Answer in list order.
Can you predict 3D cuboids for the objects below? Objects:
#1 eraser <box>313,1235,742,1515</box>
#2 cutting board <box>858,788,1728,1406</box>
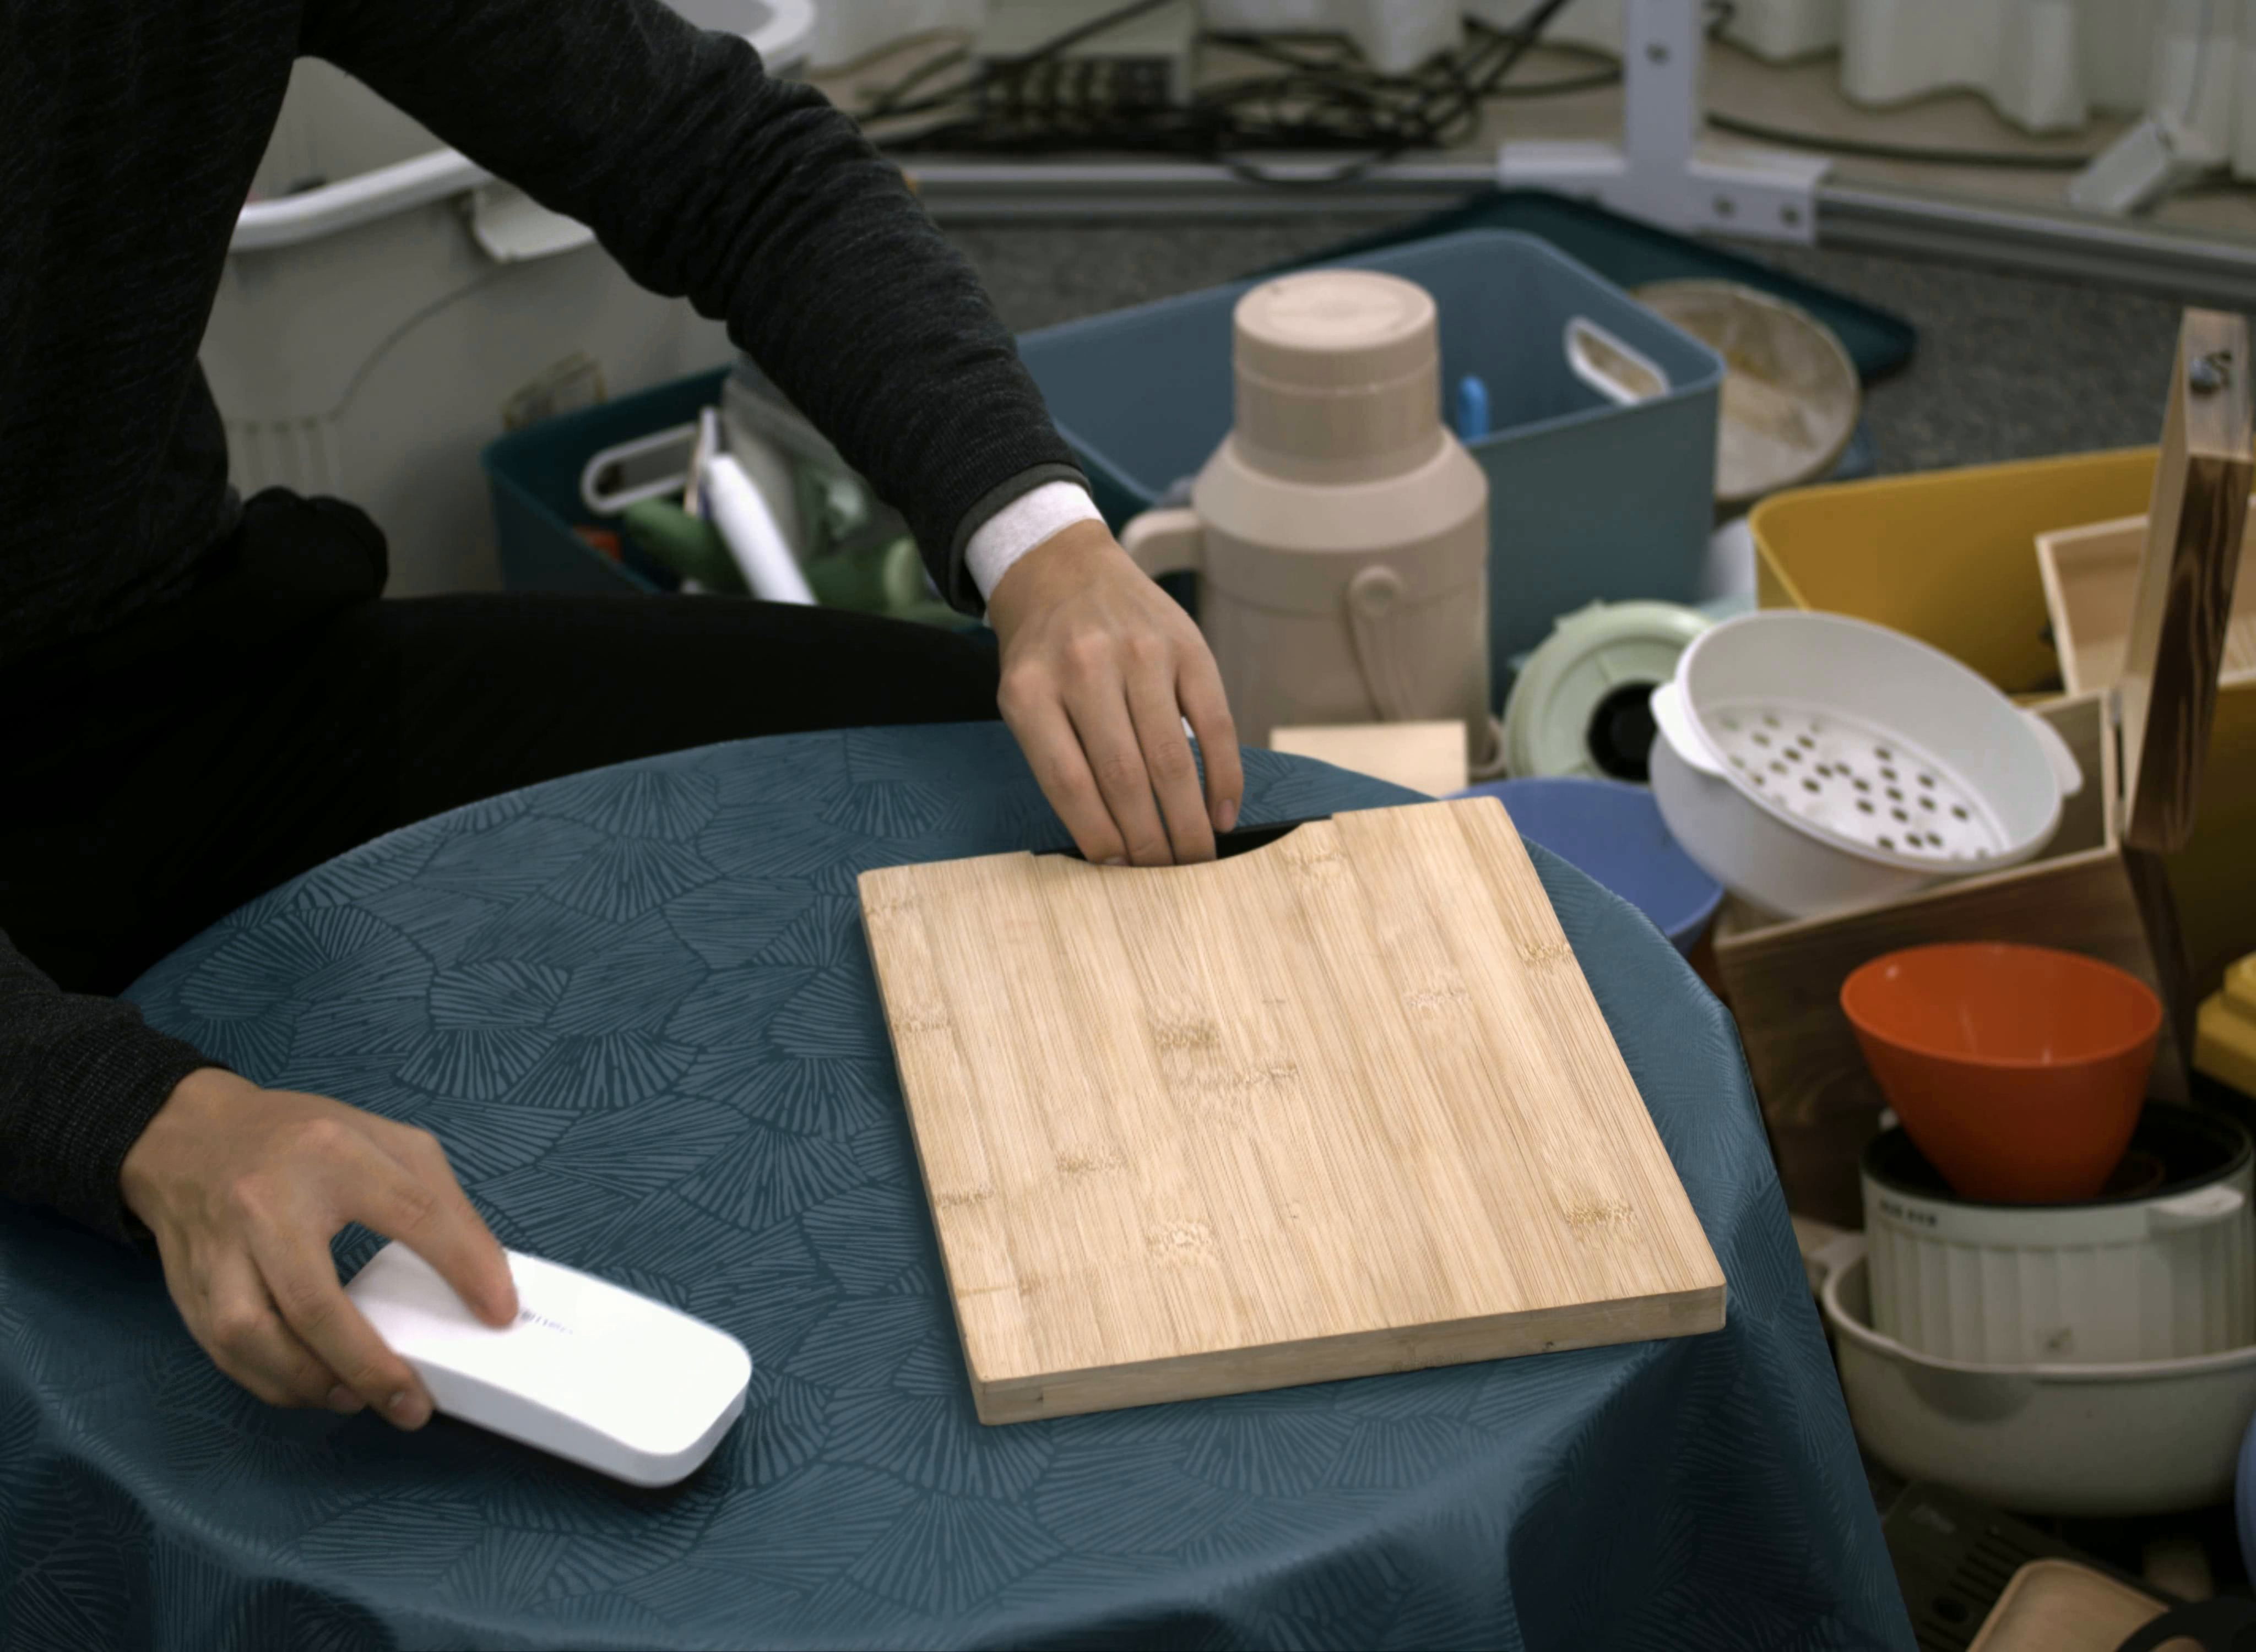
[{"bbox_3d":[-0.185,0.167,1.732,0.131,0.034,0.064,20,36,19],"label":"eraser"},{"bbox_3d":[0.045,0.086,1.908,0.250,0.023,0.353,-7,28,-8],"label":"cutting board"}]
